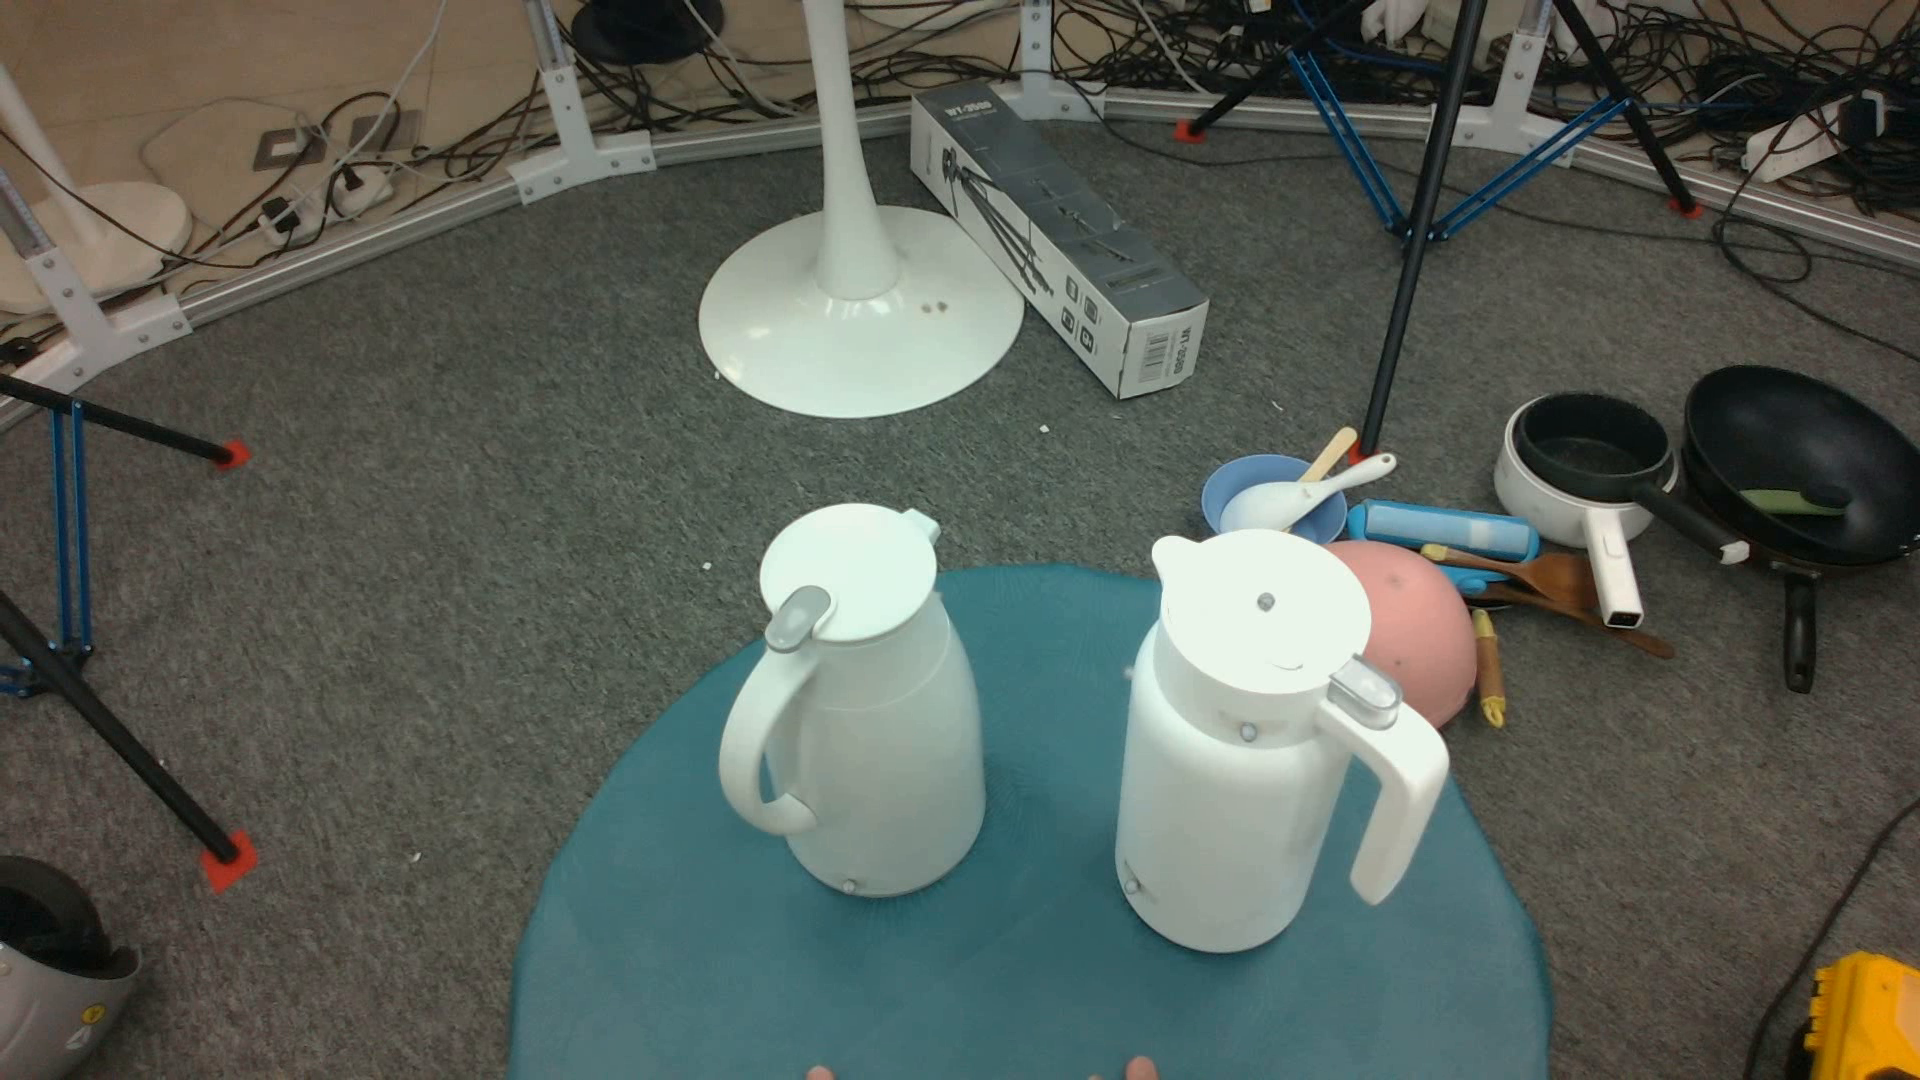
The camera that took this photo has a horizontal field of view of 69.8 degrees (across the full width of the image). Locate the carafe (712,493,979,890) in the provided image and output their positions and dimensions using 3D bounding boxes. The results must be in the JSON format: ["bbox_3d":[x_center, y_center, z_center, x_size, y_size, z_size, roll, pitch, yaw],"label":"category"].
[{"bbox_3d":[-0.069,0.097,0.782,0.132,0.247,0.168,29,57,24],"label":"carafe"}]

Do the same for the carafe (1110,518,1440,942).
[{"bbox_3d":[0.159,0.120,0.744,0.124,0.267,0.173,-35,57,-27],"label":"carafe"}]
